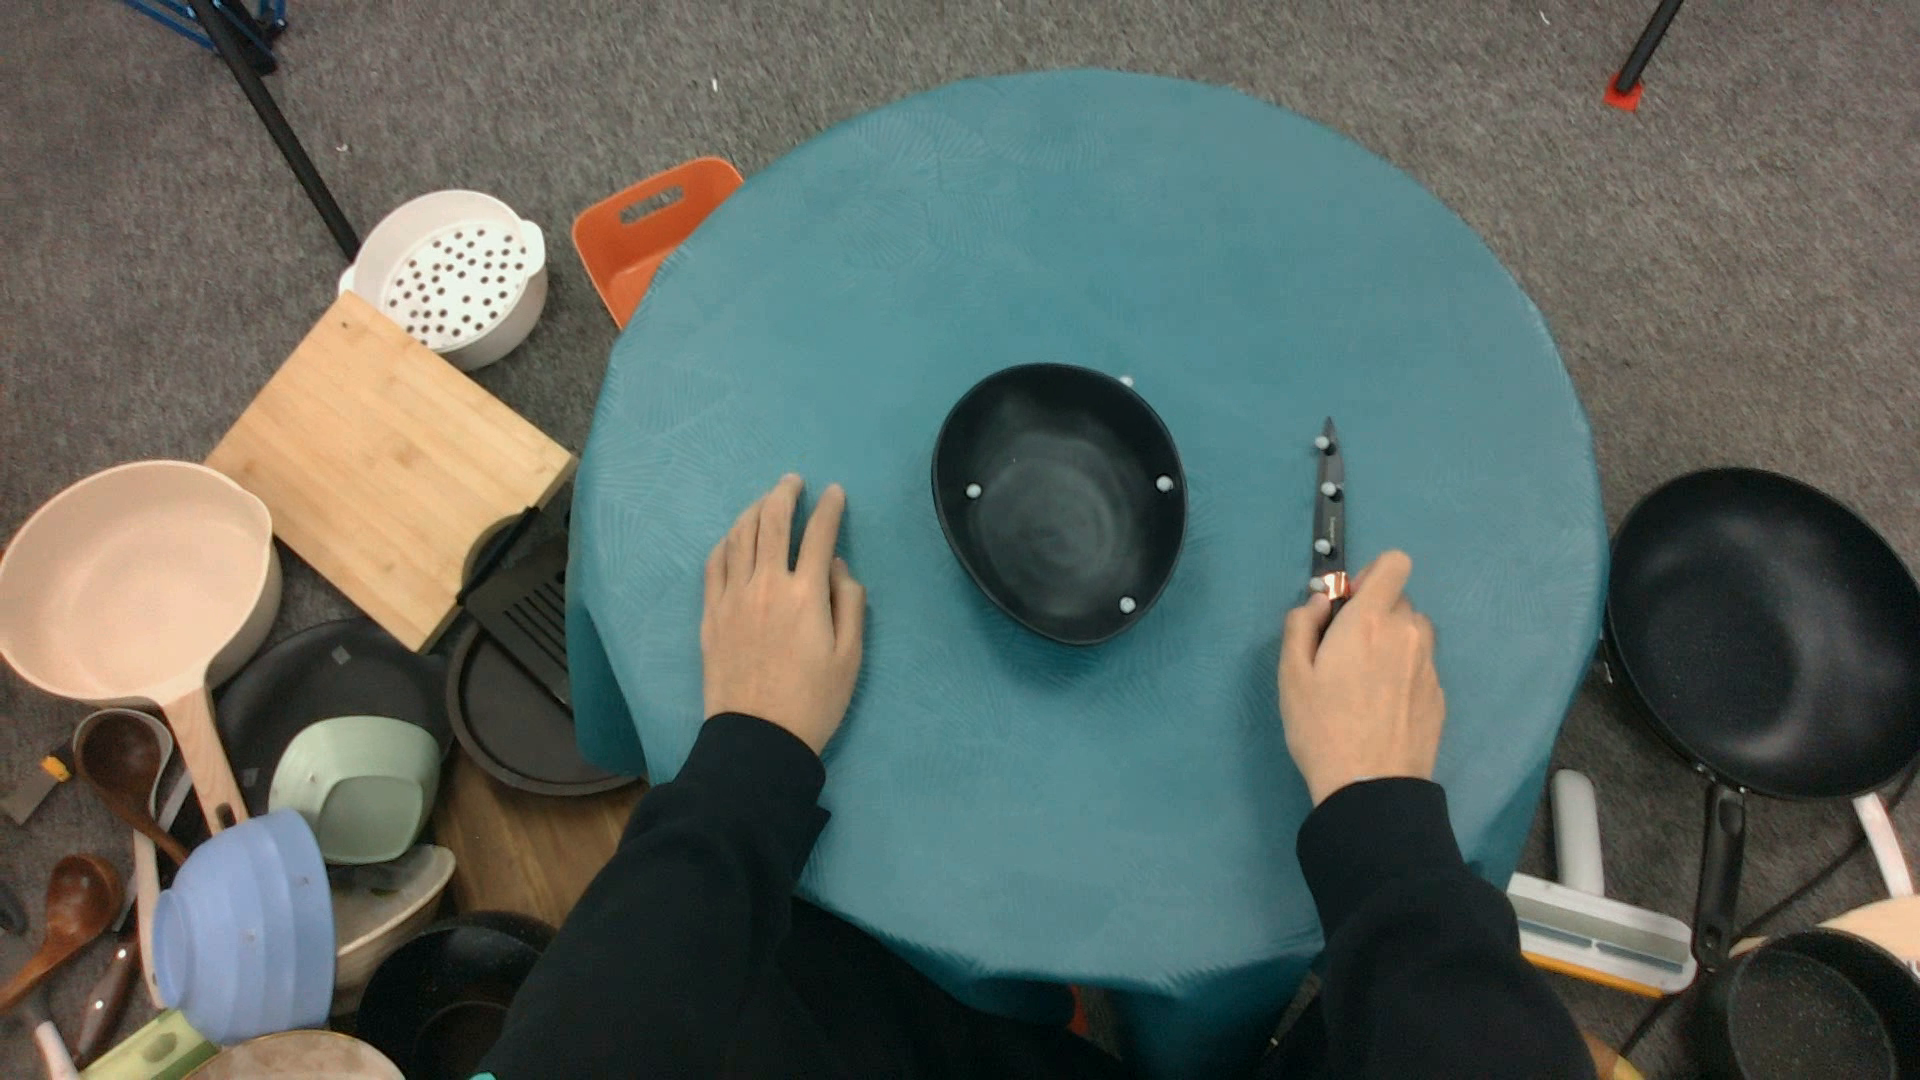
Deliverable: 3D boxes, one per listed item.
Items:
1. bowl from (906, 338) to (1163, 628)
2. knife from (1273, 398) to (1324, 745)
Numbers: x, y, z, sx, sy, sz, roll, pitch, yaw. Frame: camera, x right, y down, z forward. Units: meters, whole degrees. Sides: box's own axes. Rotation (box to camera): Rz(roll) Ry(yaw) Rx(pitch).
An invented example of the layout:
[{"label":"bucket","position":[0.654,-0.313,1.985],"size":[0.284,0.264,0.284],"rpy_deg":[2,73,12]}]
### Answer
[{"label":"bowl","position":[0.041,-0.027,0.766],"size":[0.137,0.066,0.171],"rpy_deg":[-13,68,-6]},{"label":"knife","position":[0.189,0.010,0.773],"size":[0.026,0.017,0.226],"rpy_deg":[-19,51,36]}]
